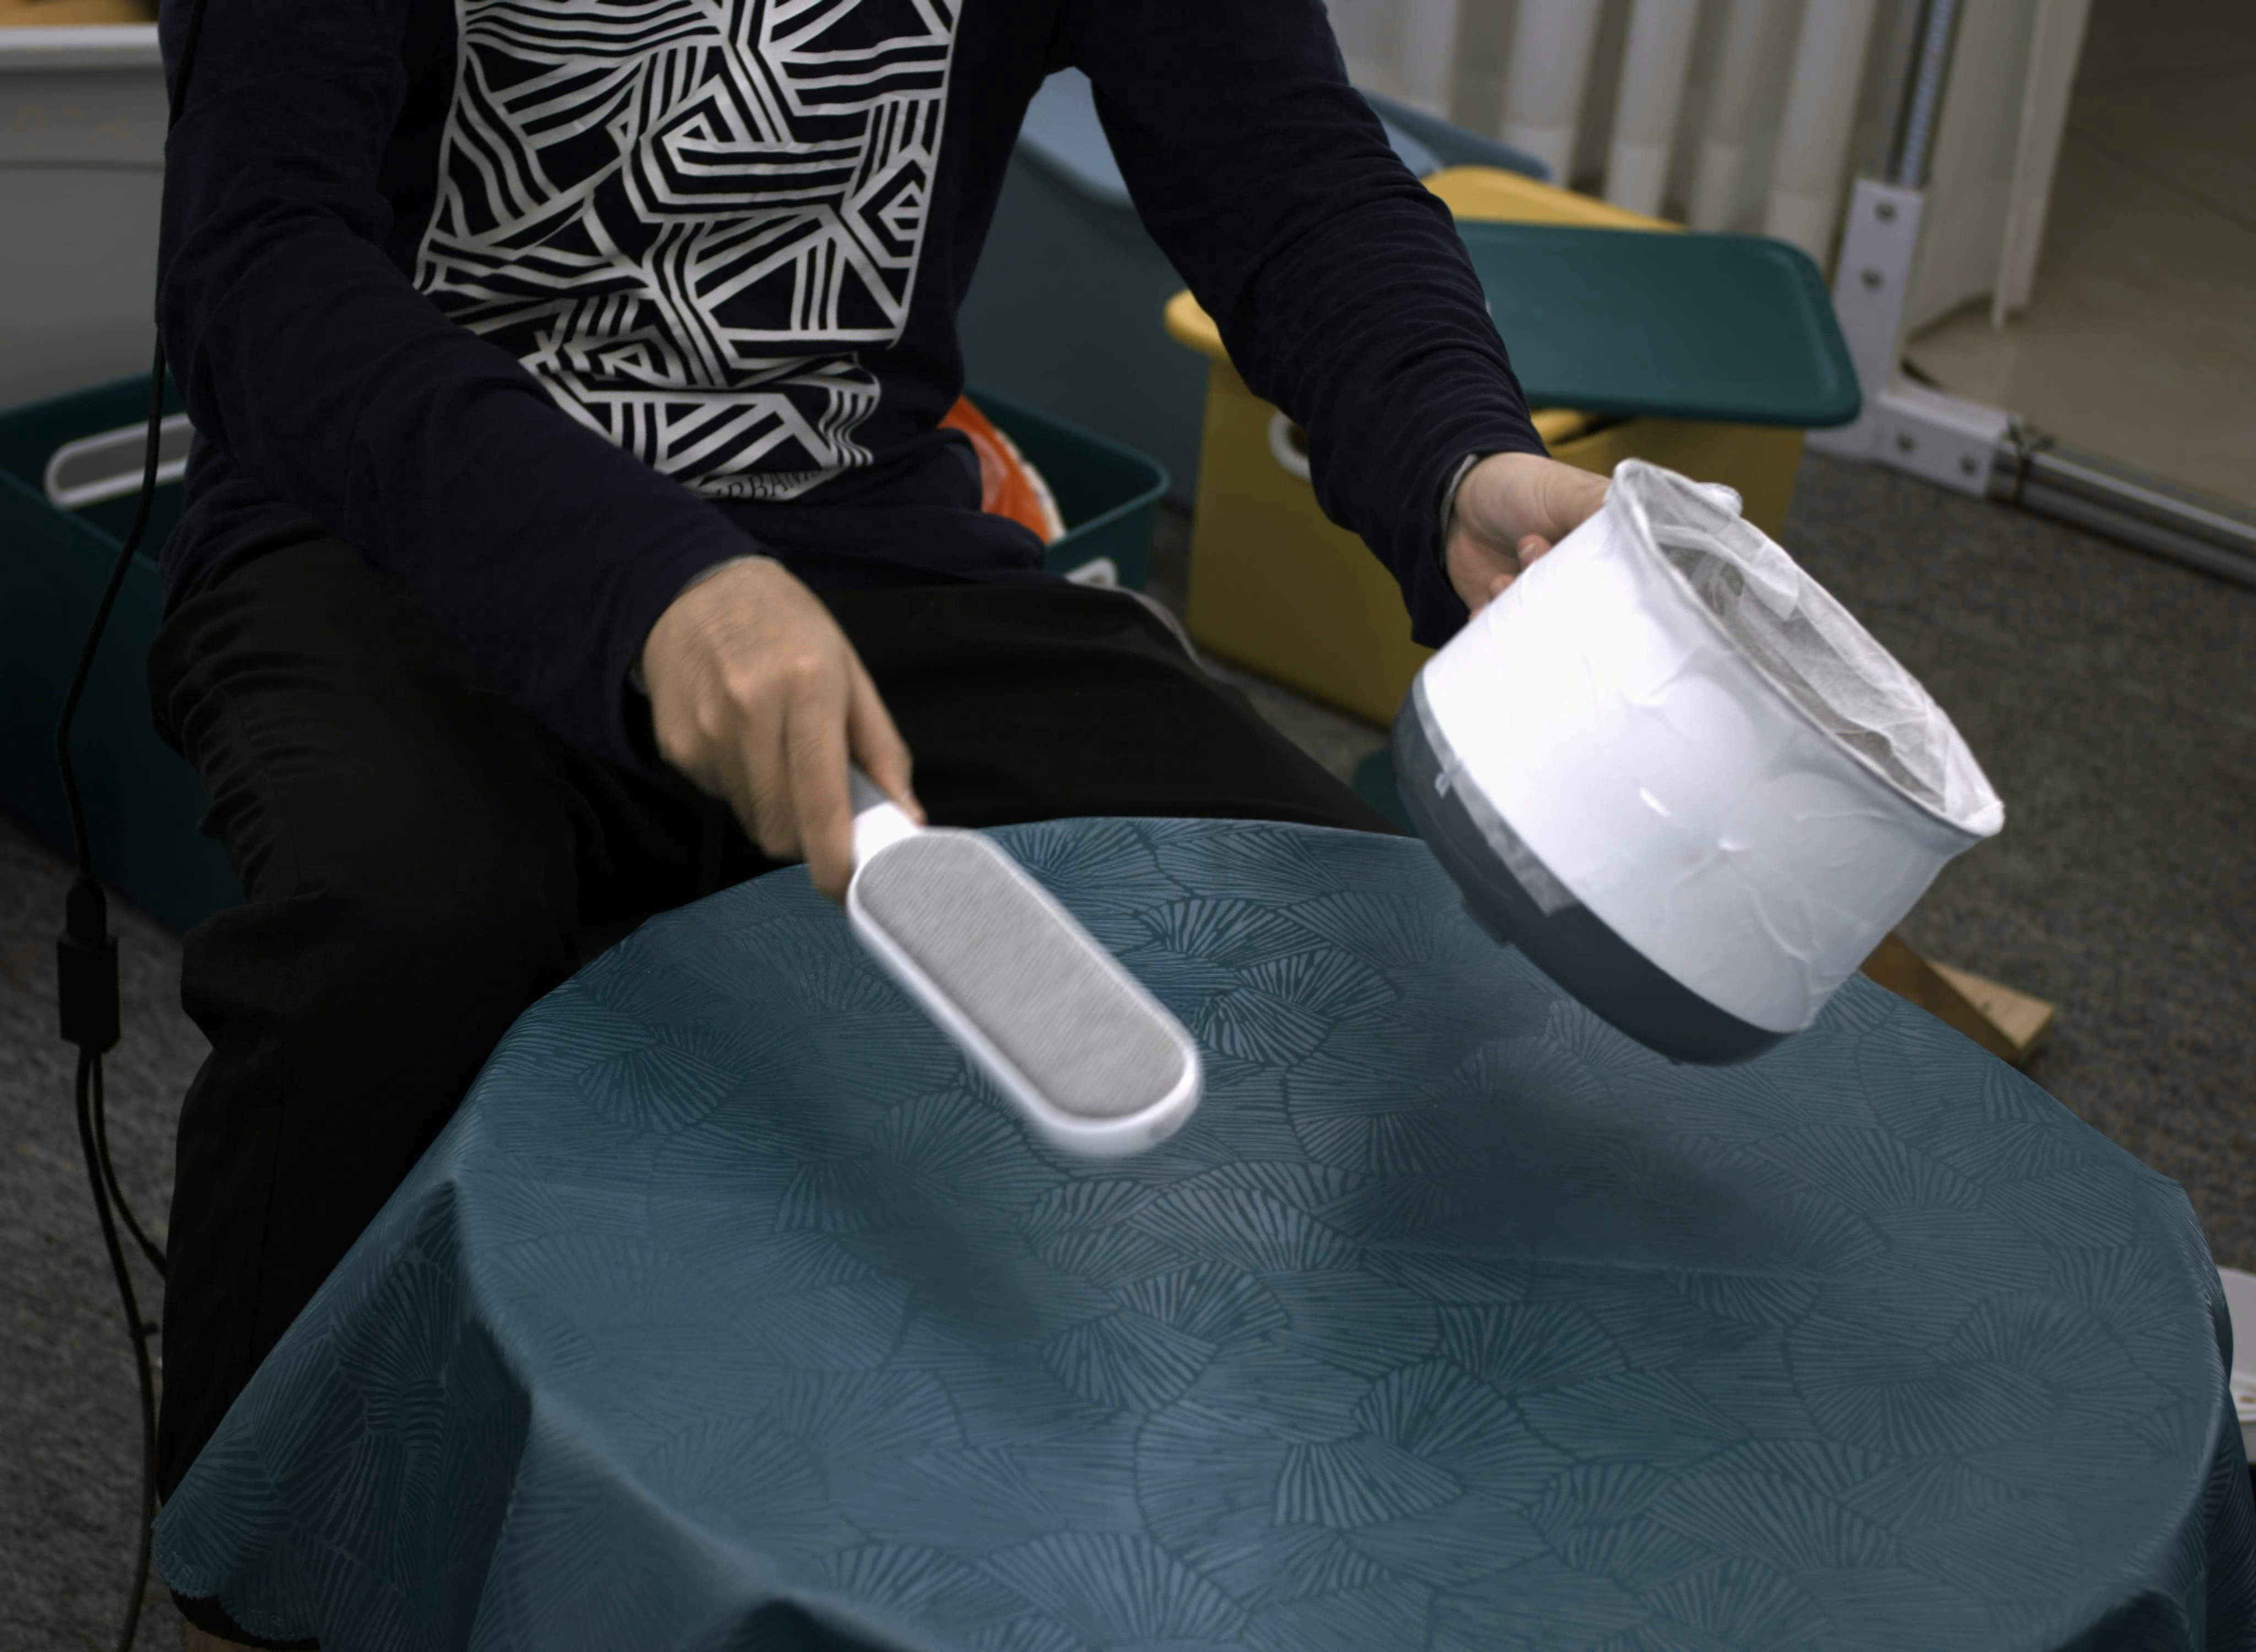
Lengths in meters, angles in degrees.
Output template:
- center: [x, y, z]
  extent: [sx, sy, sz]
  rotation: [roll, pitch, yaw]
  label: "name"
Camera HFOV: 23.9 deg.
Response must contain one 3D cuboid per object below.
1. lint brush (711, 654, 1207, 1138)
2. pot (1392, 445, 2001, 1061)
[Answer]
- center: [-0.064, 0.017, 1.802]
  extent: [0.060, 0.021, 0.312]
  rotation: [-32, 41, -14]
  label: "lint brush"
- center: [0.181, -0.035, 1.815]
  extent: [0.177, 0.136, 0.236]
  rotation: [37, 19, -30]
  label: "pot"
